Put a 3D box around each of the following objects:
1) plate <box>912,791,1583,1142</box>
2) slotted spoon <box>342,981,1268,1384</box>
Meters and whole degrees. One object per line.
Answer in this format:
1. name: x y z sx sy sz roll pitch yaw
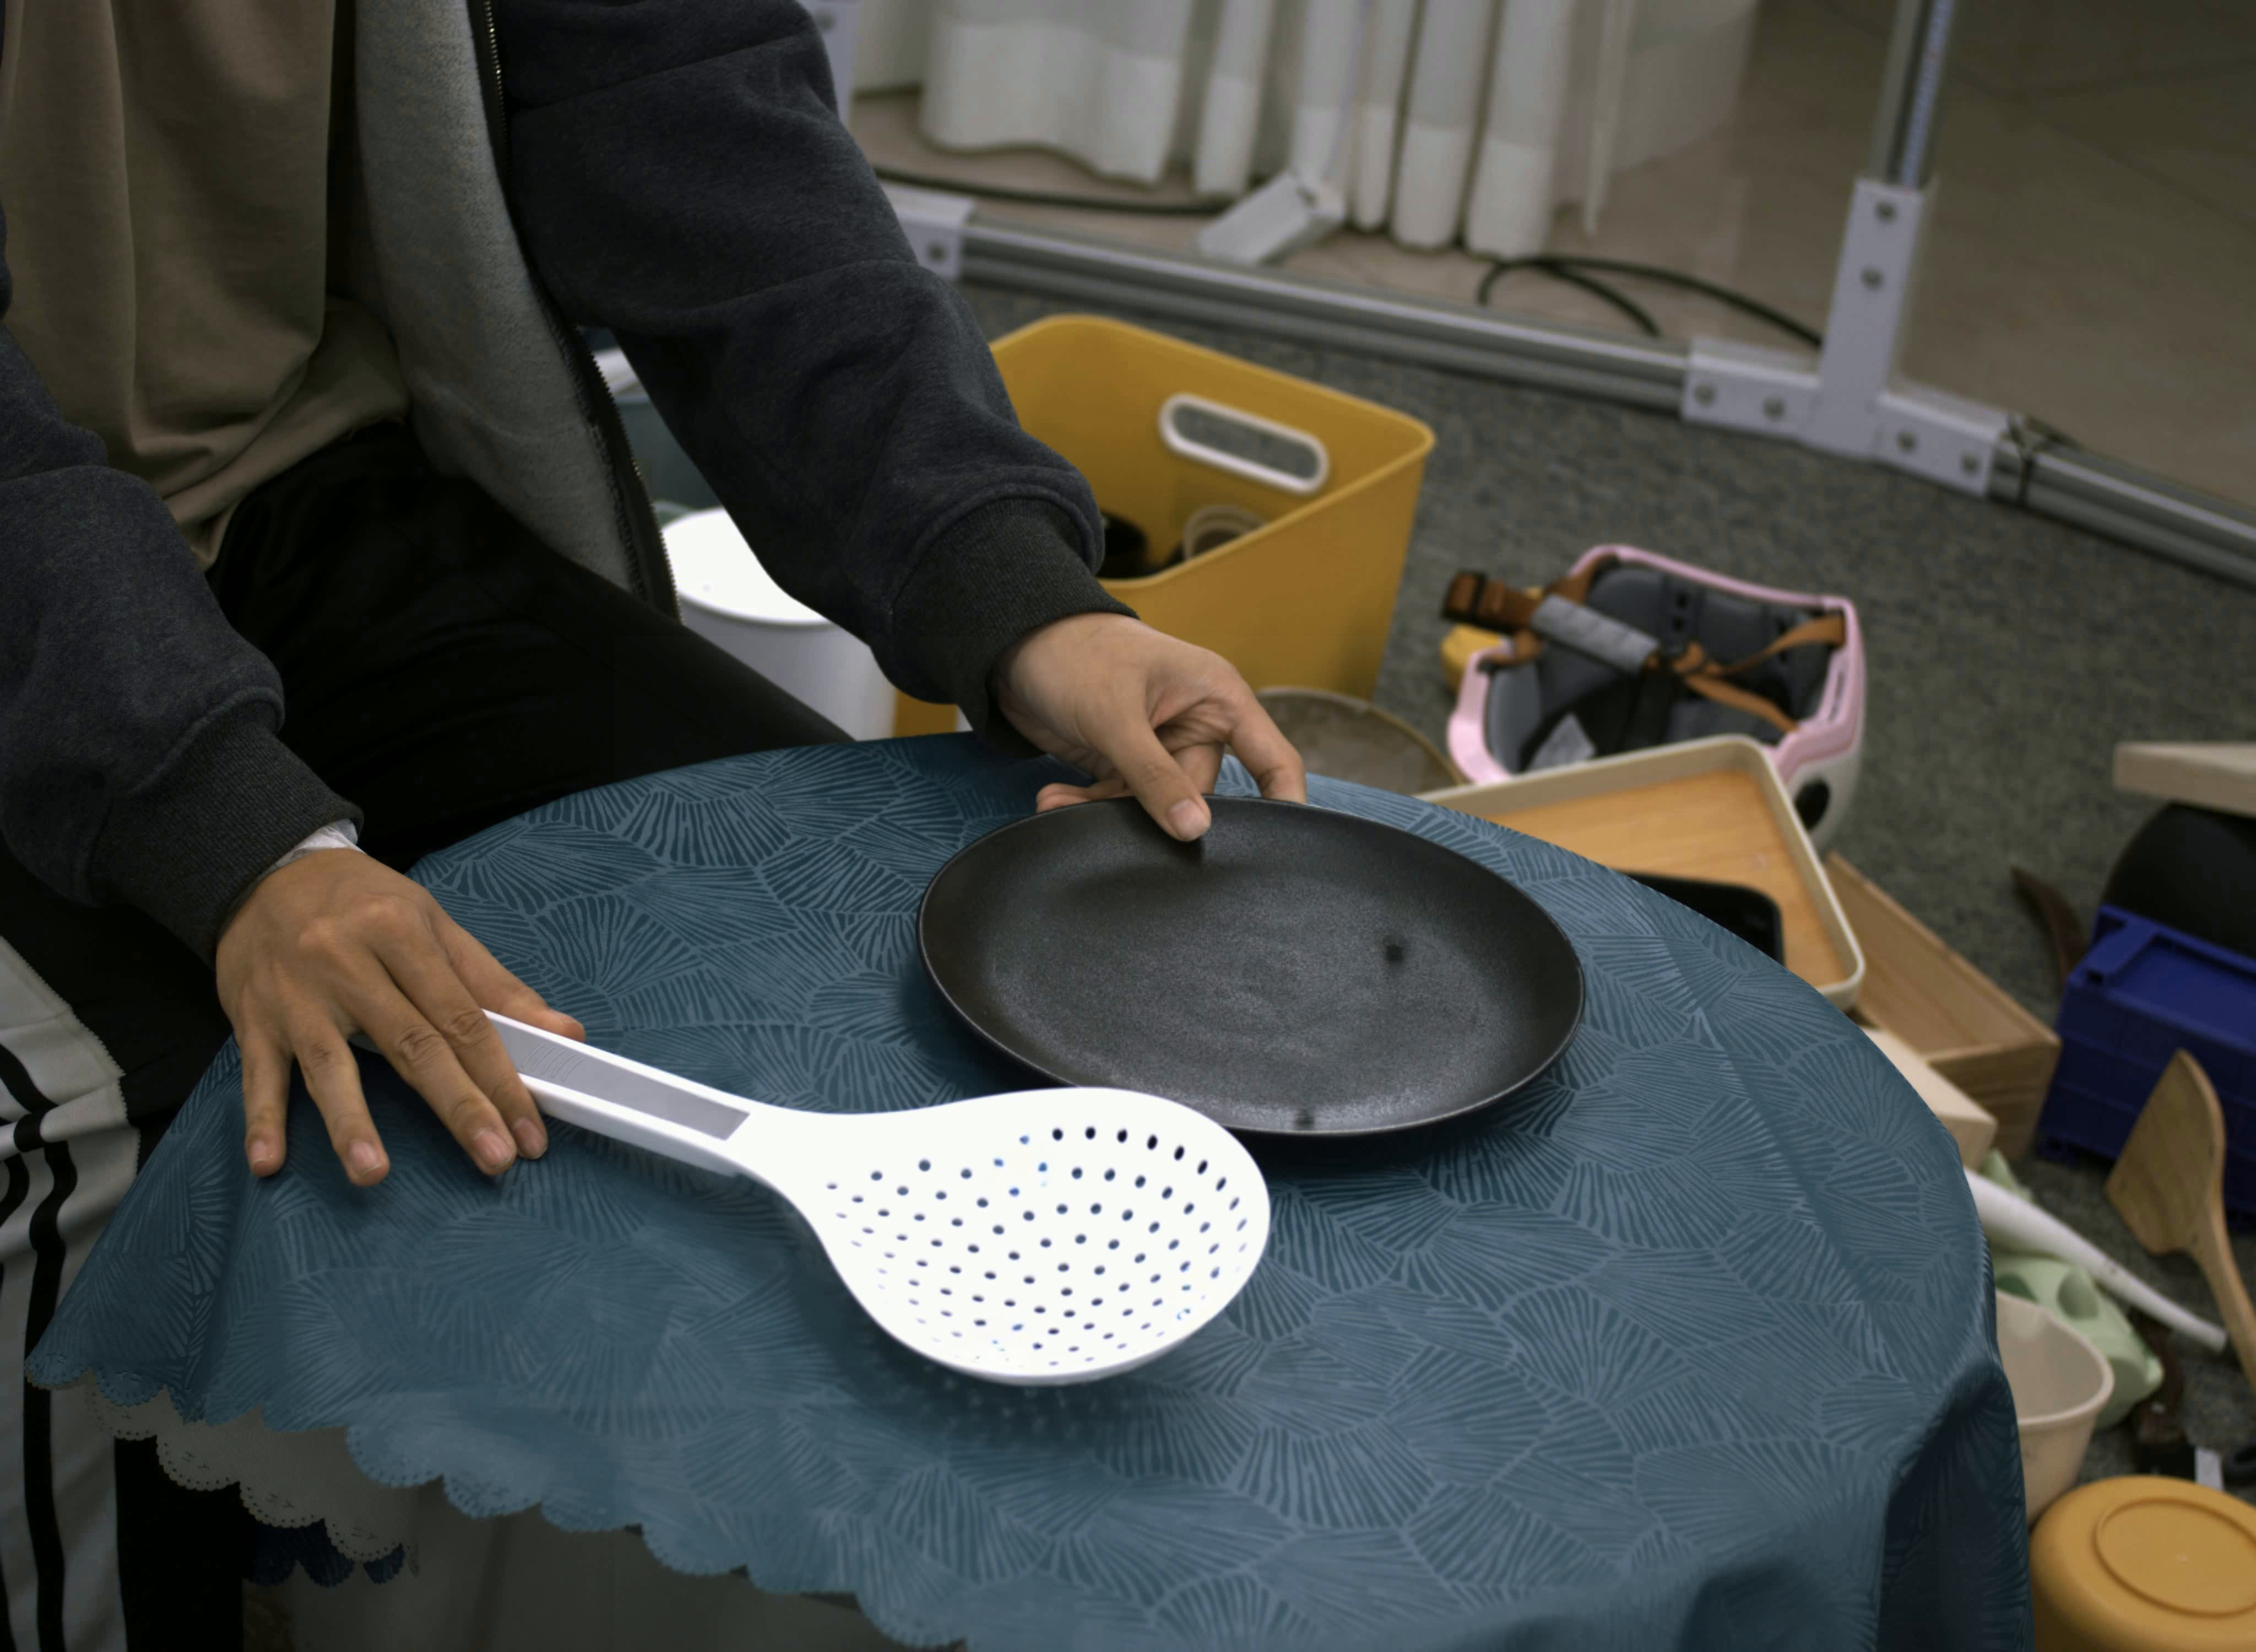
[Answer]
1. plate: 0.042 0.055 1.916 0.243 0.023 0.246 5 28 -3
2. slotted spoon: -0.115 0.108 1.751 0.351 0.045 0.136 20 42 24
